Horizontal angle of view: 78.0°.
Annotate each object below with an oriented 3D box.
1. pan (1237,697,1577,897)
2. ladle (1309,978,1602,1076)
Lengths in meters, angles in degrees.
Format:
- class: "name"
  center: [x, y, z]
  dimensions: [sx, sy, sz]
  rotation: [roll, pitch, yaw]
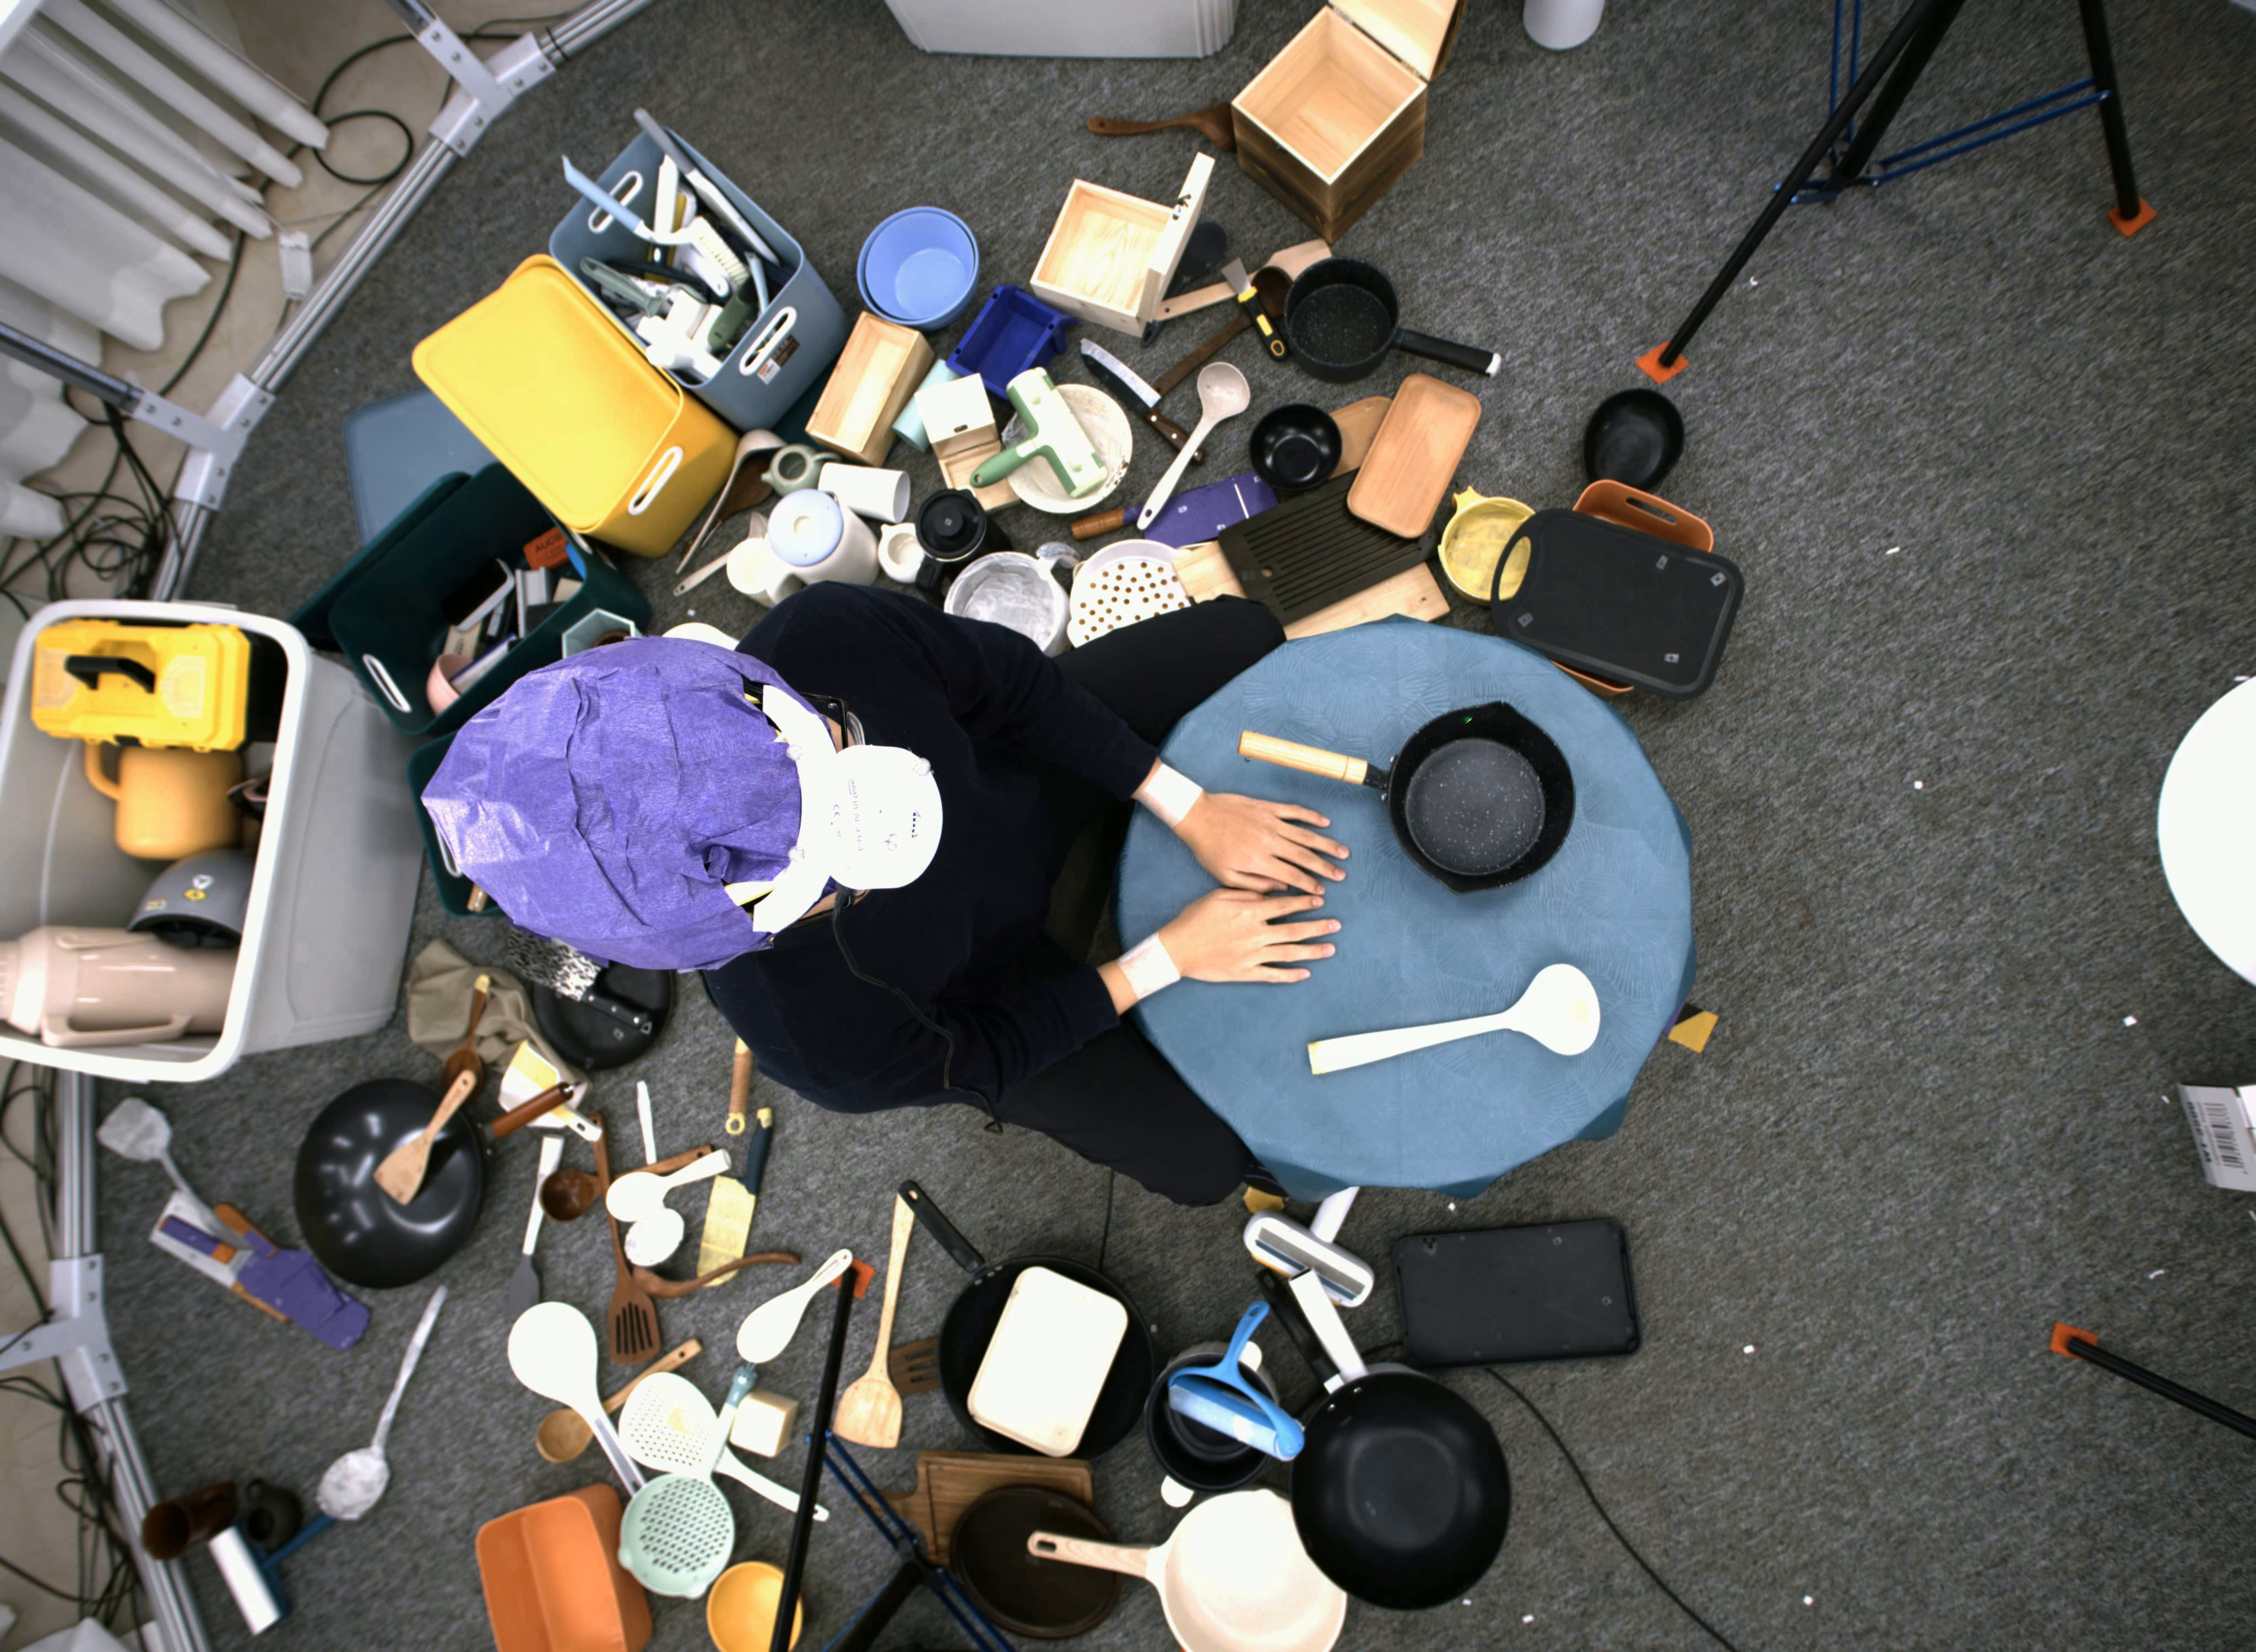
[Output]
- class: "pan"
  center: [0.280, -0.043, 1.410]
  dimensions: [0.343, 0.108, 0.207]
  rotation: [12, 89, 10]
- class: "ladle"
  center: [0.329, 0.216, 1.408]
  dimensions: [0.294, 0.069, 0.090]
  rotation: [-11, 89, 10]
